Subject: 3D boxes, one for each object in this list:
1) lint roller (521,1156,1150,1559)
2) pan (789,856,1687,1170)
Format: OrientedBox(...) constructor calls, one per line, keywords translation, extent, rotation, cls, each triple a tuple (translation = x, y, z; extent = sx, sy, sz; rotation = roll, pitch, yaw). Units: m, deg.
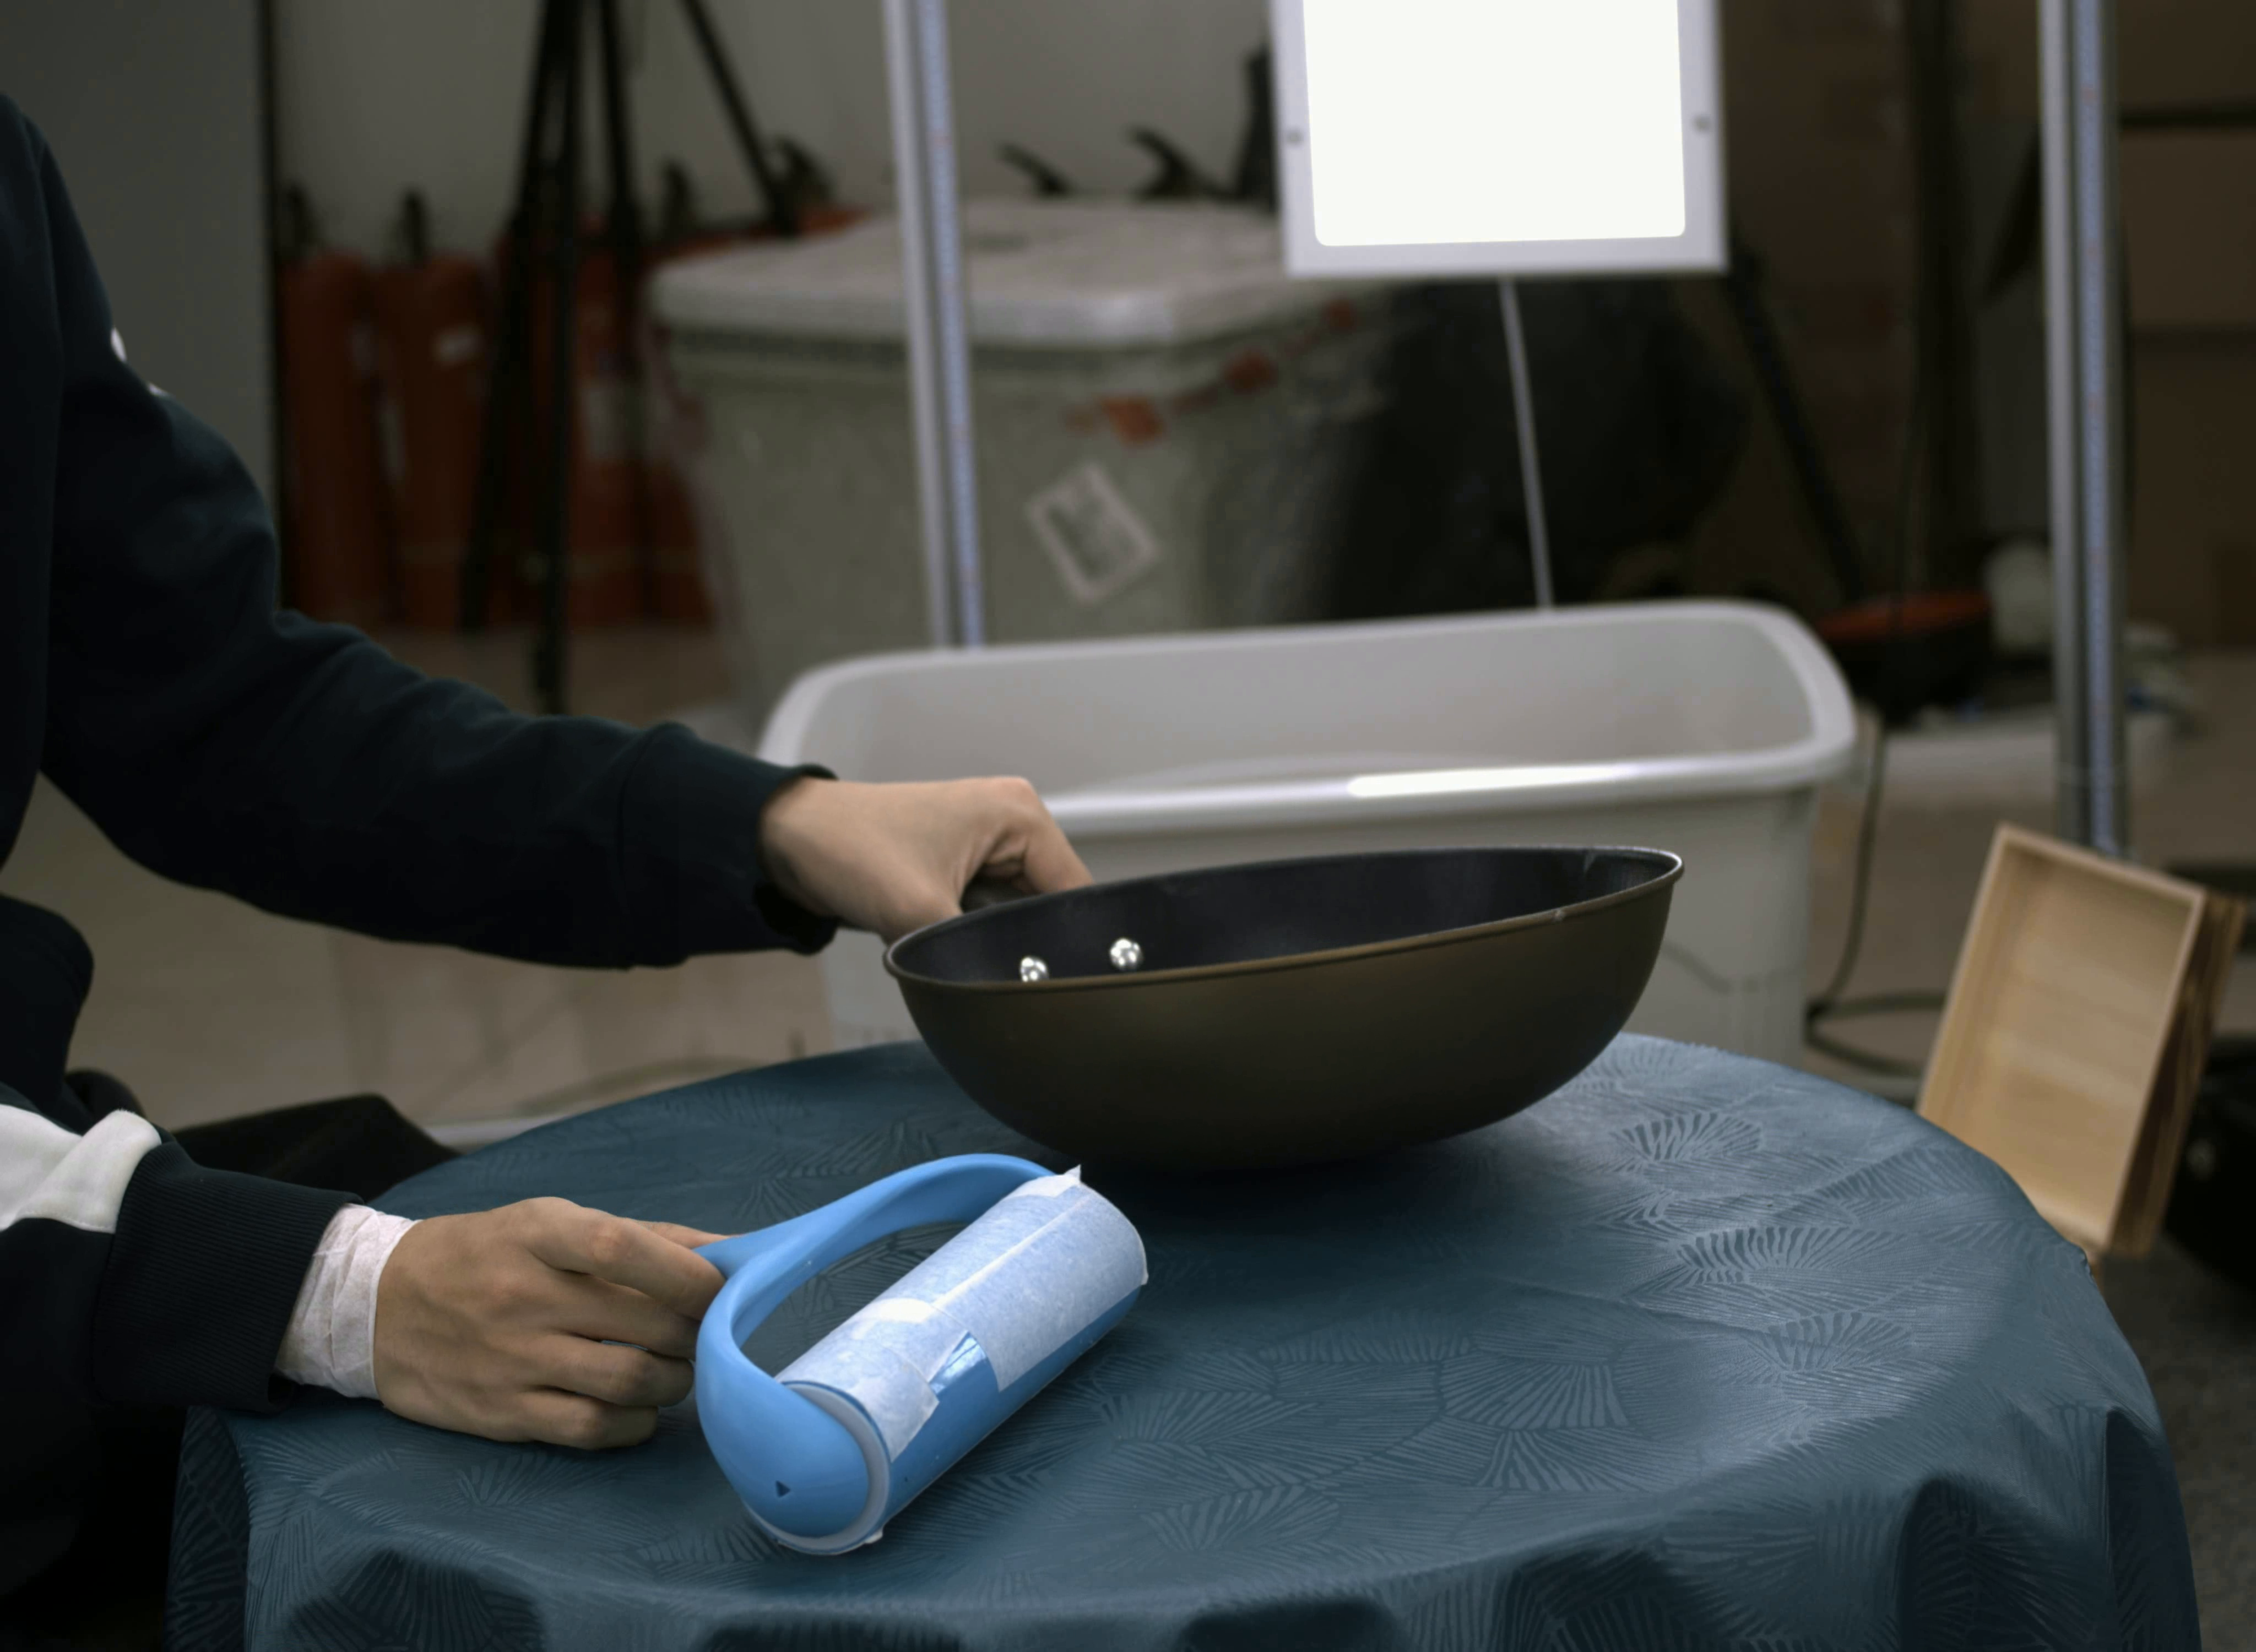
OrientedBox(translation=(-0.107, 0.159, 1.687), extent=(0.183, 0.068, 0.225), rotation=(1, 17, 20), cls="lint roller")
OrientedBox(translation=(0.005, 0.066, 1.981), extent=(0.281, 0.087, 0.473), rotation=(-10, 5, -34), cls="pan")
